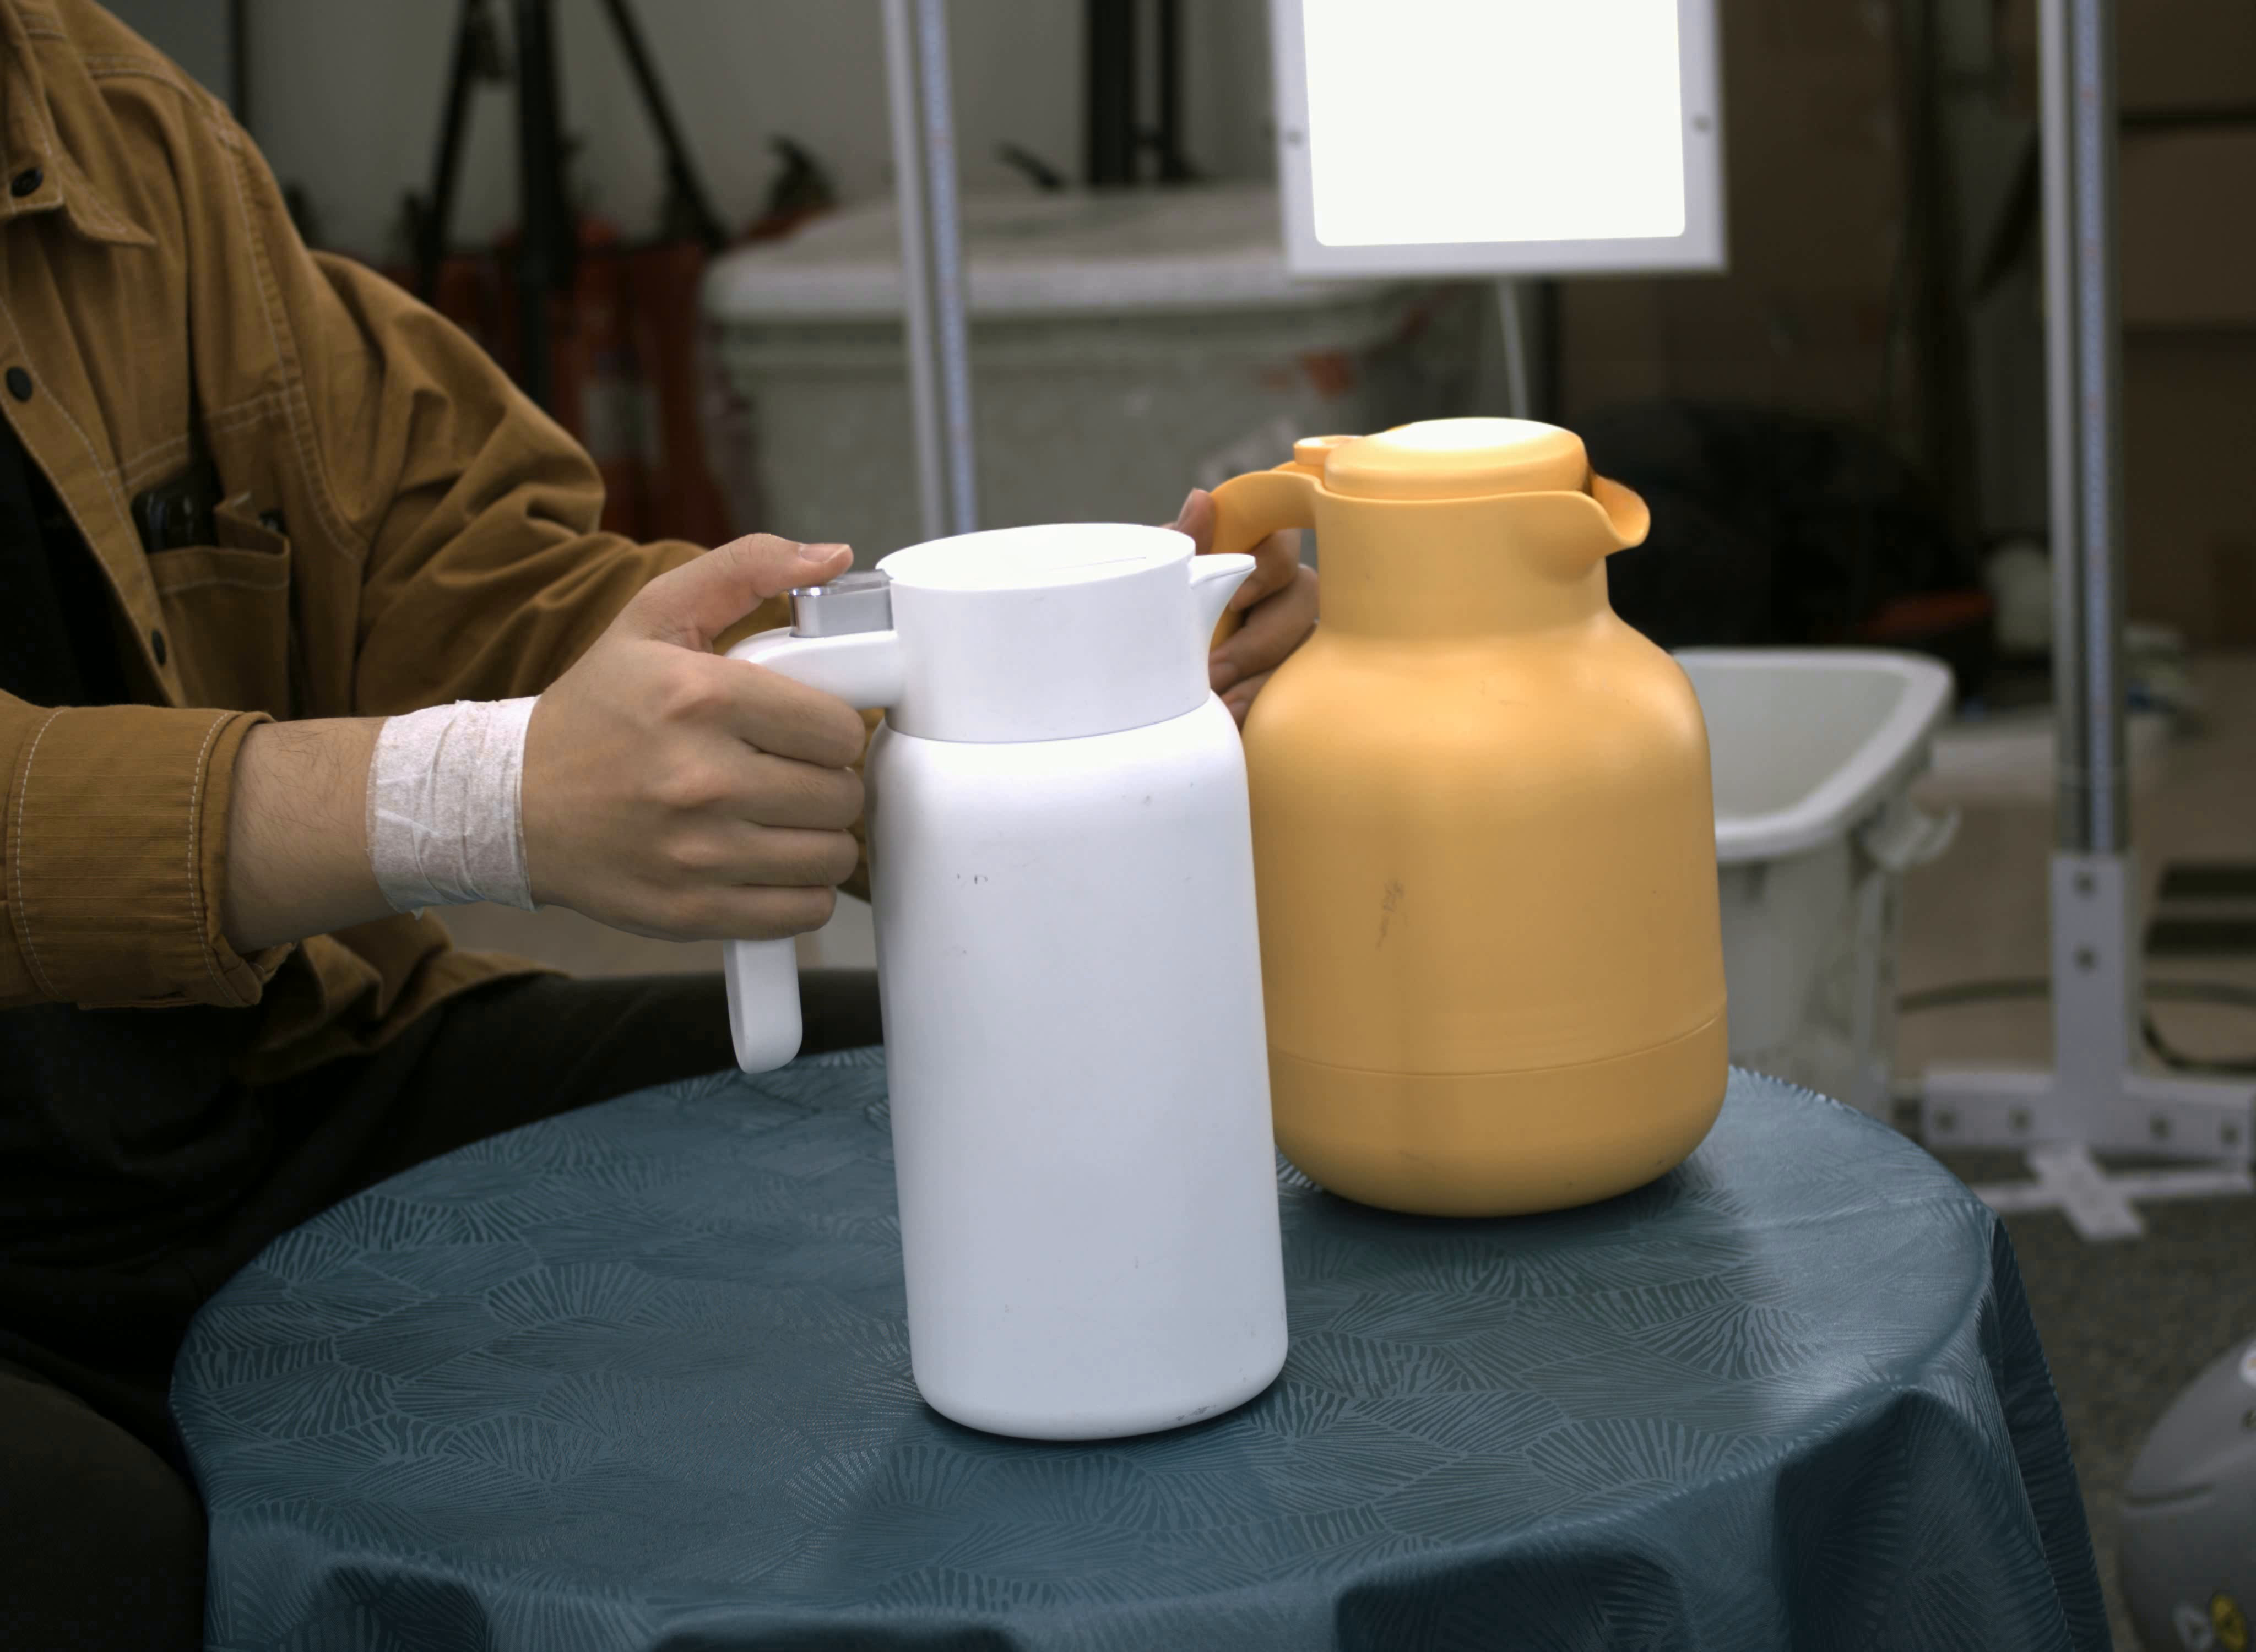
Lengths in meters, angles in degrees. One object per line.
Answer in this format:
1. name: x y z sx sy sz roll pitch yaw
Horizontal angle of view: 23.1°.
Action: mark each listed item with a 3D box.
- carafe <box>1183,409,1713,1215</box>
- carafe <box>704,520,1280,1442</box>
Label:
1. carafe: 0.102 -0.011 1.869 0.159 0.261 0.207 -14 18 -43
2. carafe: -0.035 0.048 1.670 0.170 0.270 0.125 -7 15 -12
